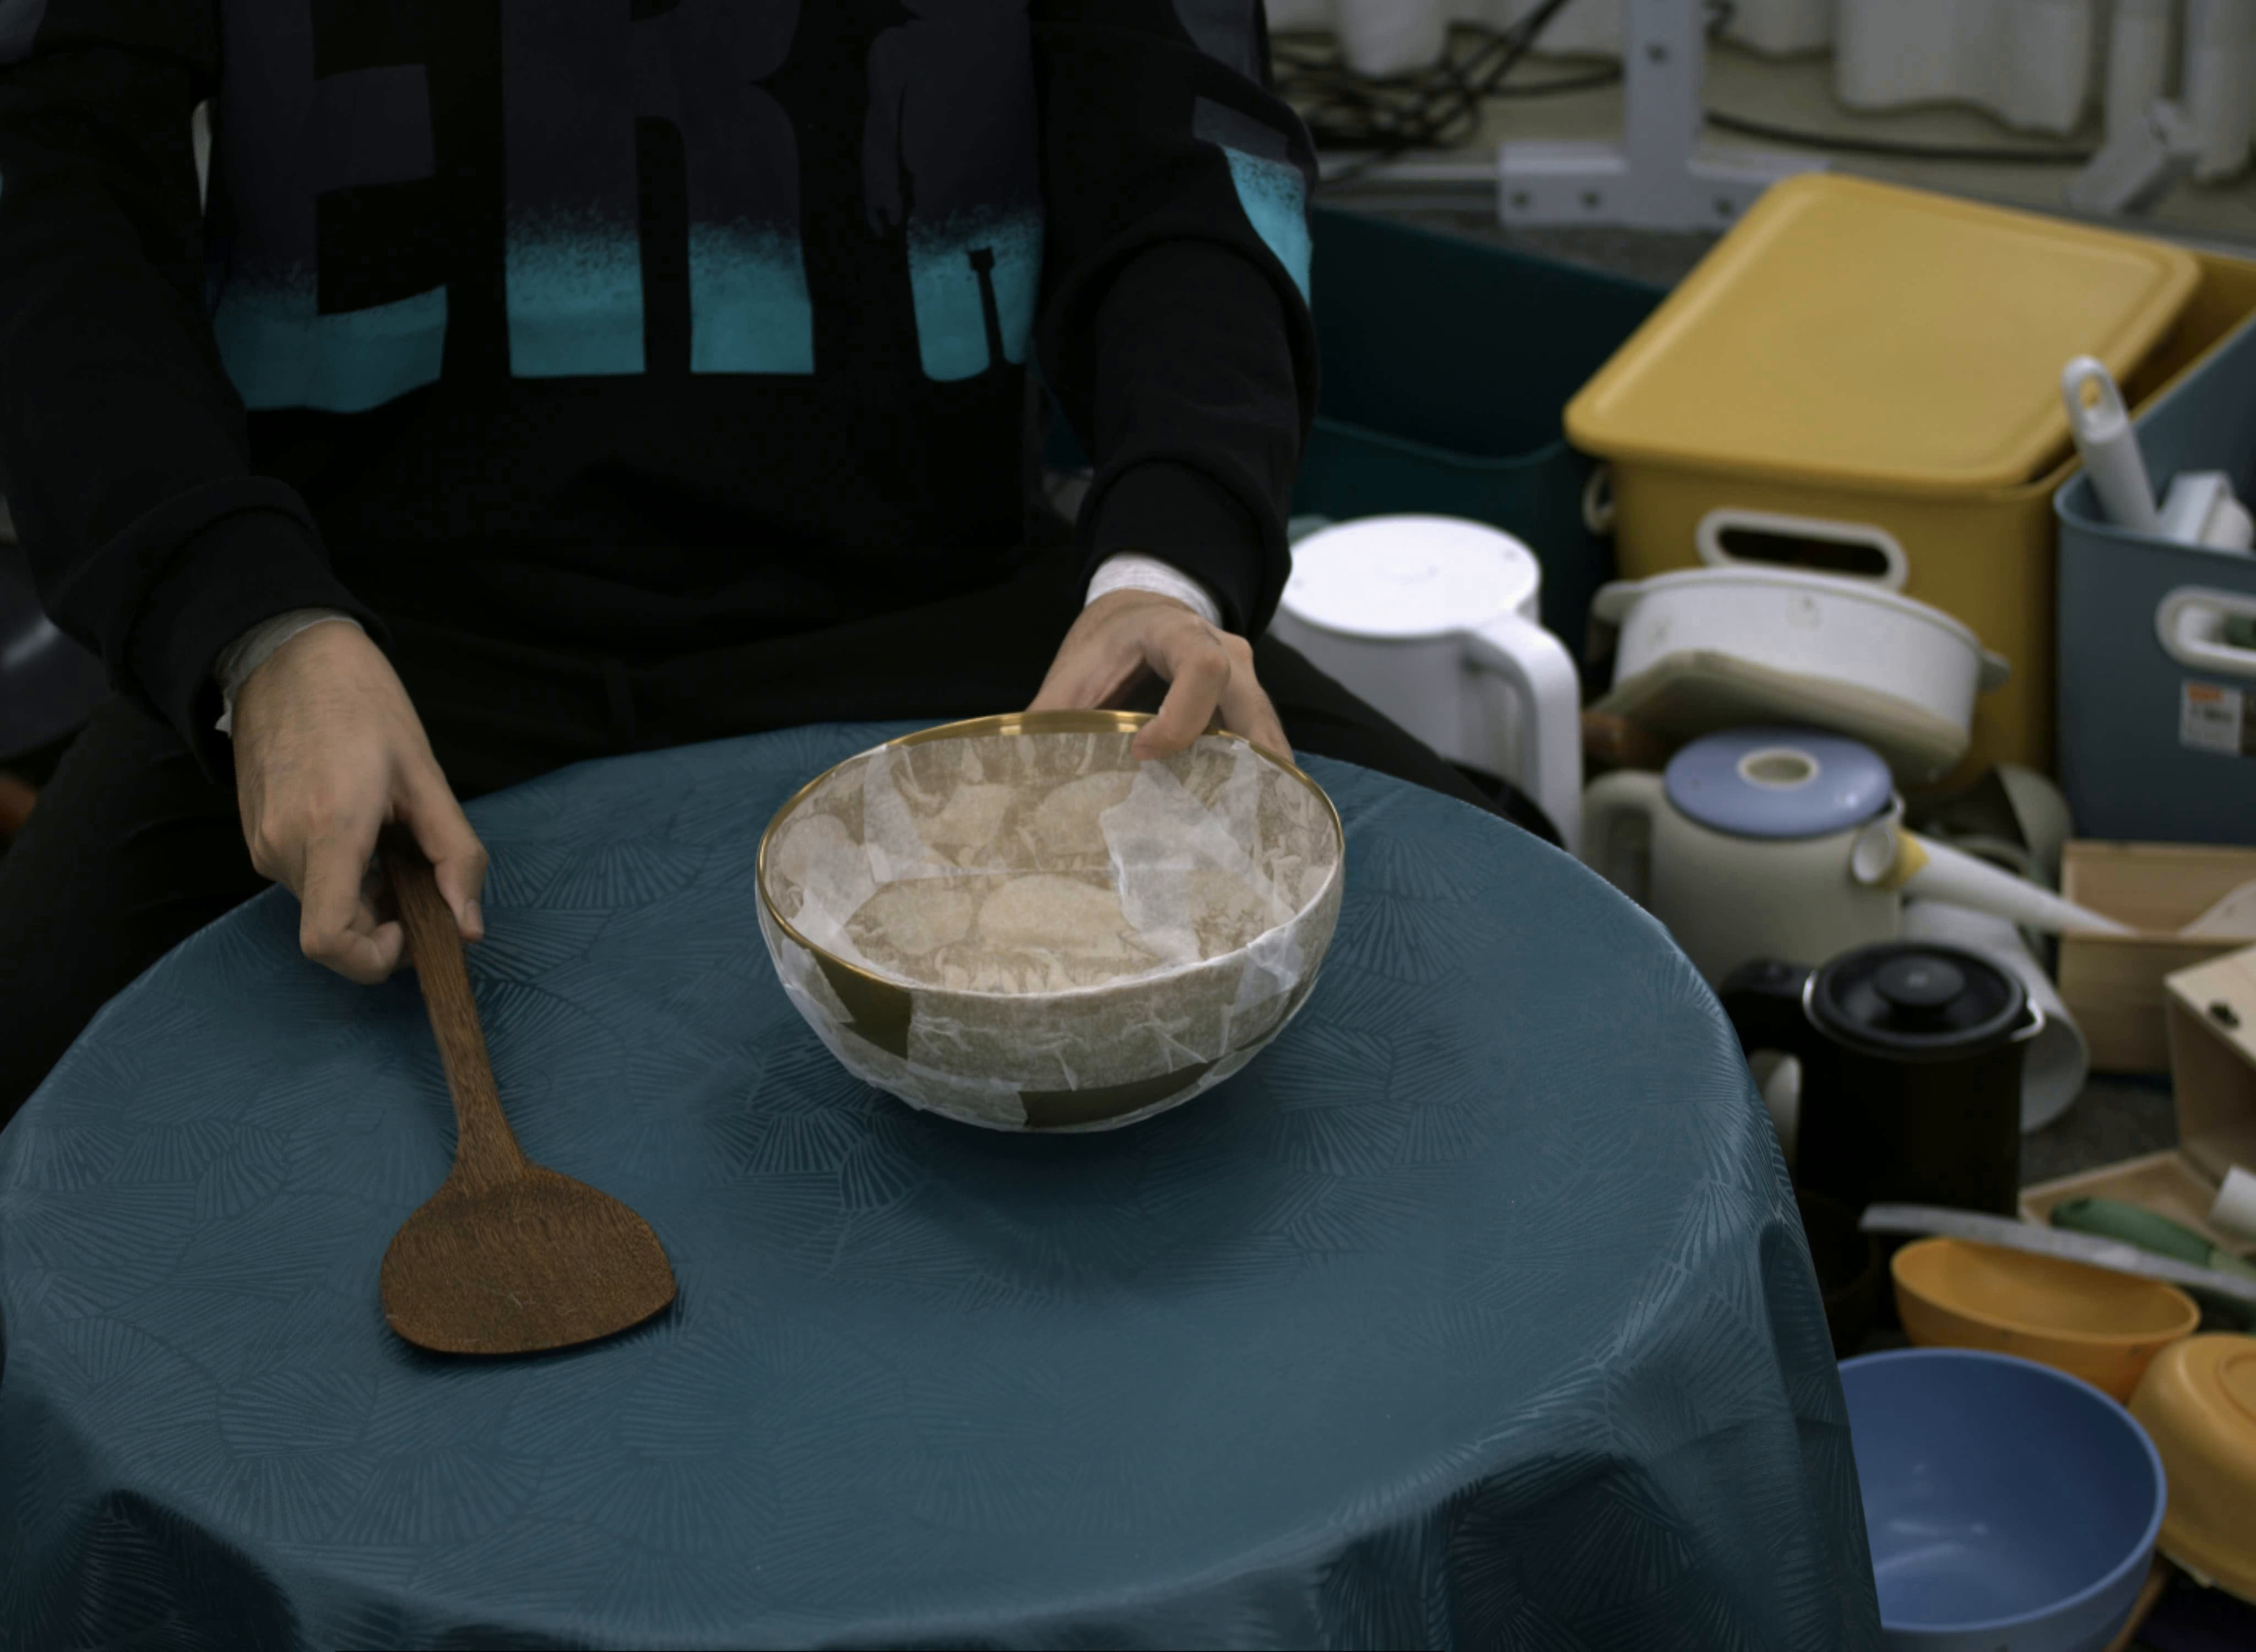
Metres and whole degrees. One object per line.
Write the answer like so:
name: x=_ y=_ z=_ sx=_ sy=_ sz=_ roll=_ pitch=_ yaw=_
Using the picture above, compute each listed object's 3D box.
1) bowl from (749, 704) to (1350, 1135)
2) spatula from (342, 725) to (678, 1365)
bowl: x=-0.023 y=0.043 z=1.915 sx=0.213 sy=0.093 sz=0.218 roll=-3 pitch=27 yaw=2
spatula: x=-0.233 y=0.066 z=1.942 sx=0.096 sy=0.015 sz=0.391 roll=-7 pitch=35 yaw=-12
